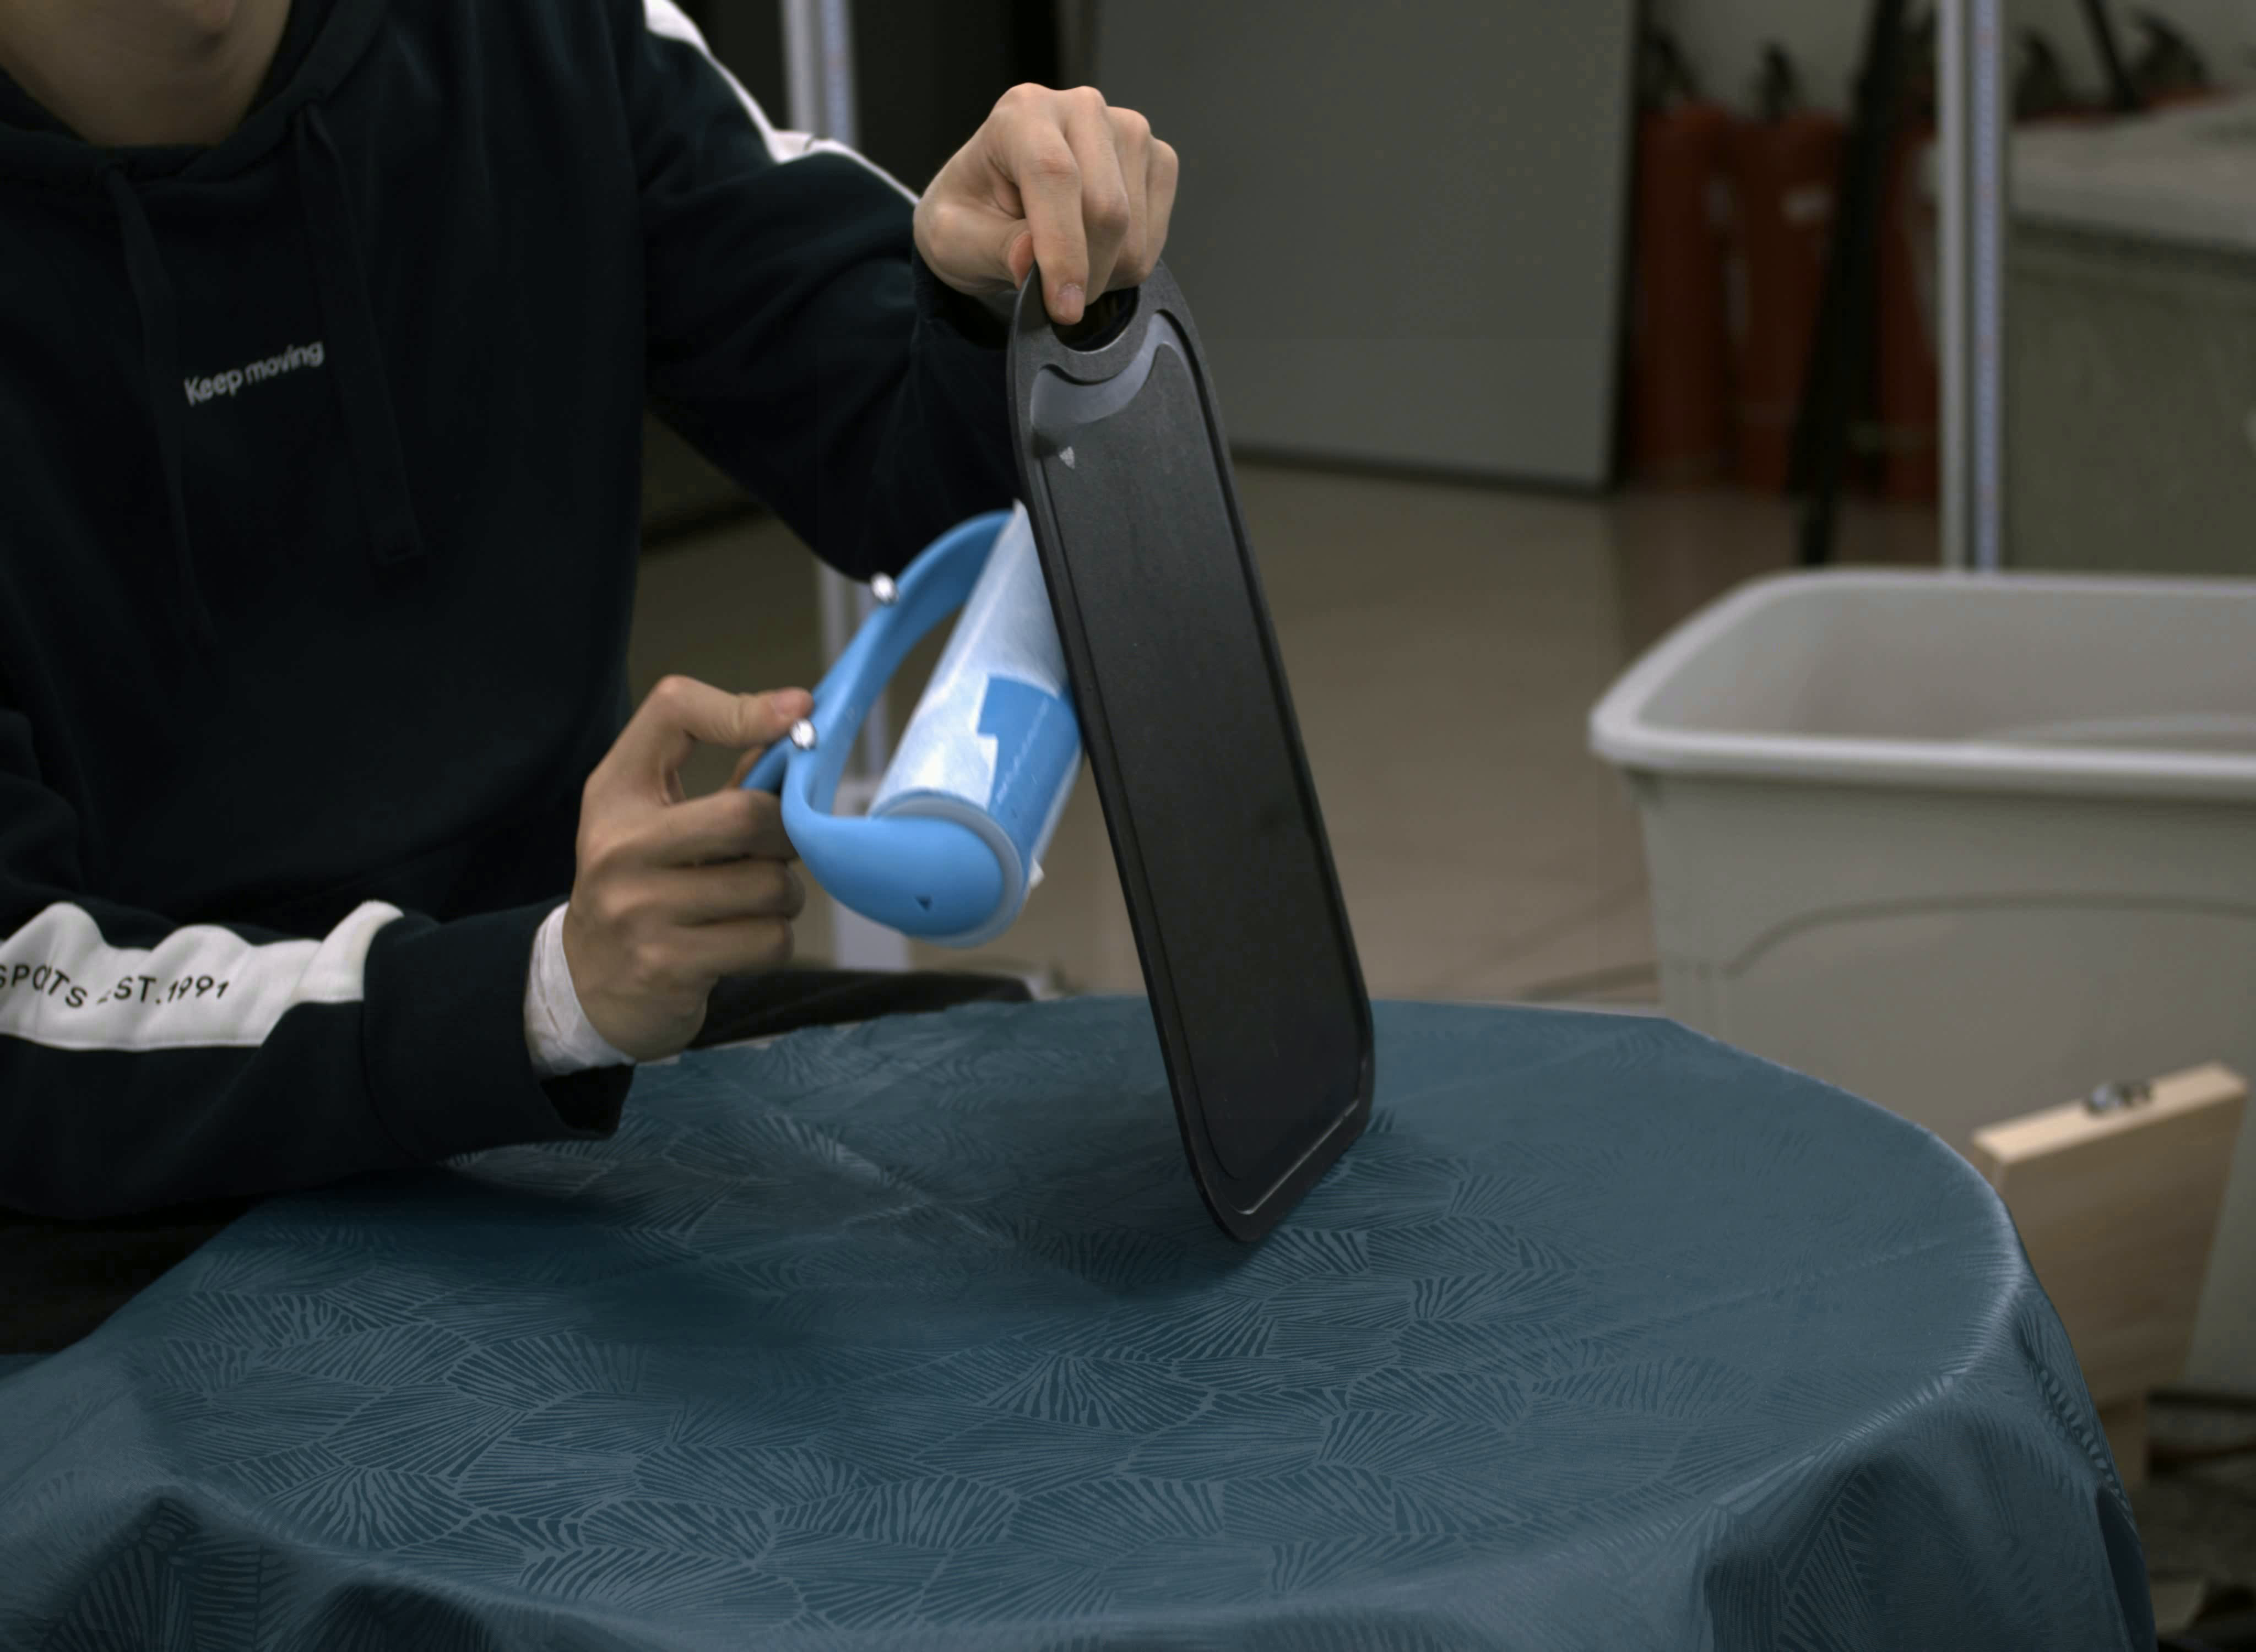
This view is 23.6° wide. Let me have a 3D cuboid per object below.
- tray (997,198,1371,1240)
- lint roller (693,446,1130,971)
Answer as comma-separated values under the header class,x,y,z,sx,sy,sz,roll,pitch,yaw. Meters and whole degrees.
class,x,y,z,sx,sy,sz,roll,pitch,yaw
tray,0.021,-0.040,1.735,0.010,0.329,0.209,-12,7,20
lint roller,-0.086,-0.020,1.683,0.181,0.067,0.229,-34,22,26
